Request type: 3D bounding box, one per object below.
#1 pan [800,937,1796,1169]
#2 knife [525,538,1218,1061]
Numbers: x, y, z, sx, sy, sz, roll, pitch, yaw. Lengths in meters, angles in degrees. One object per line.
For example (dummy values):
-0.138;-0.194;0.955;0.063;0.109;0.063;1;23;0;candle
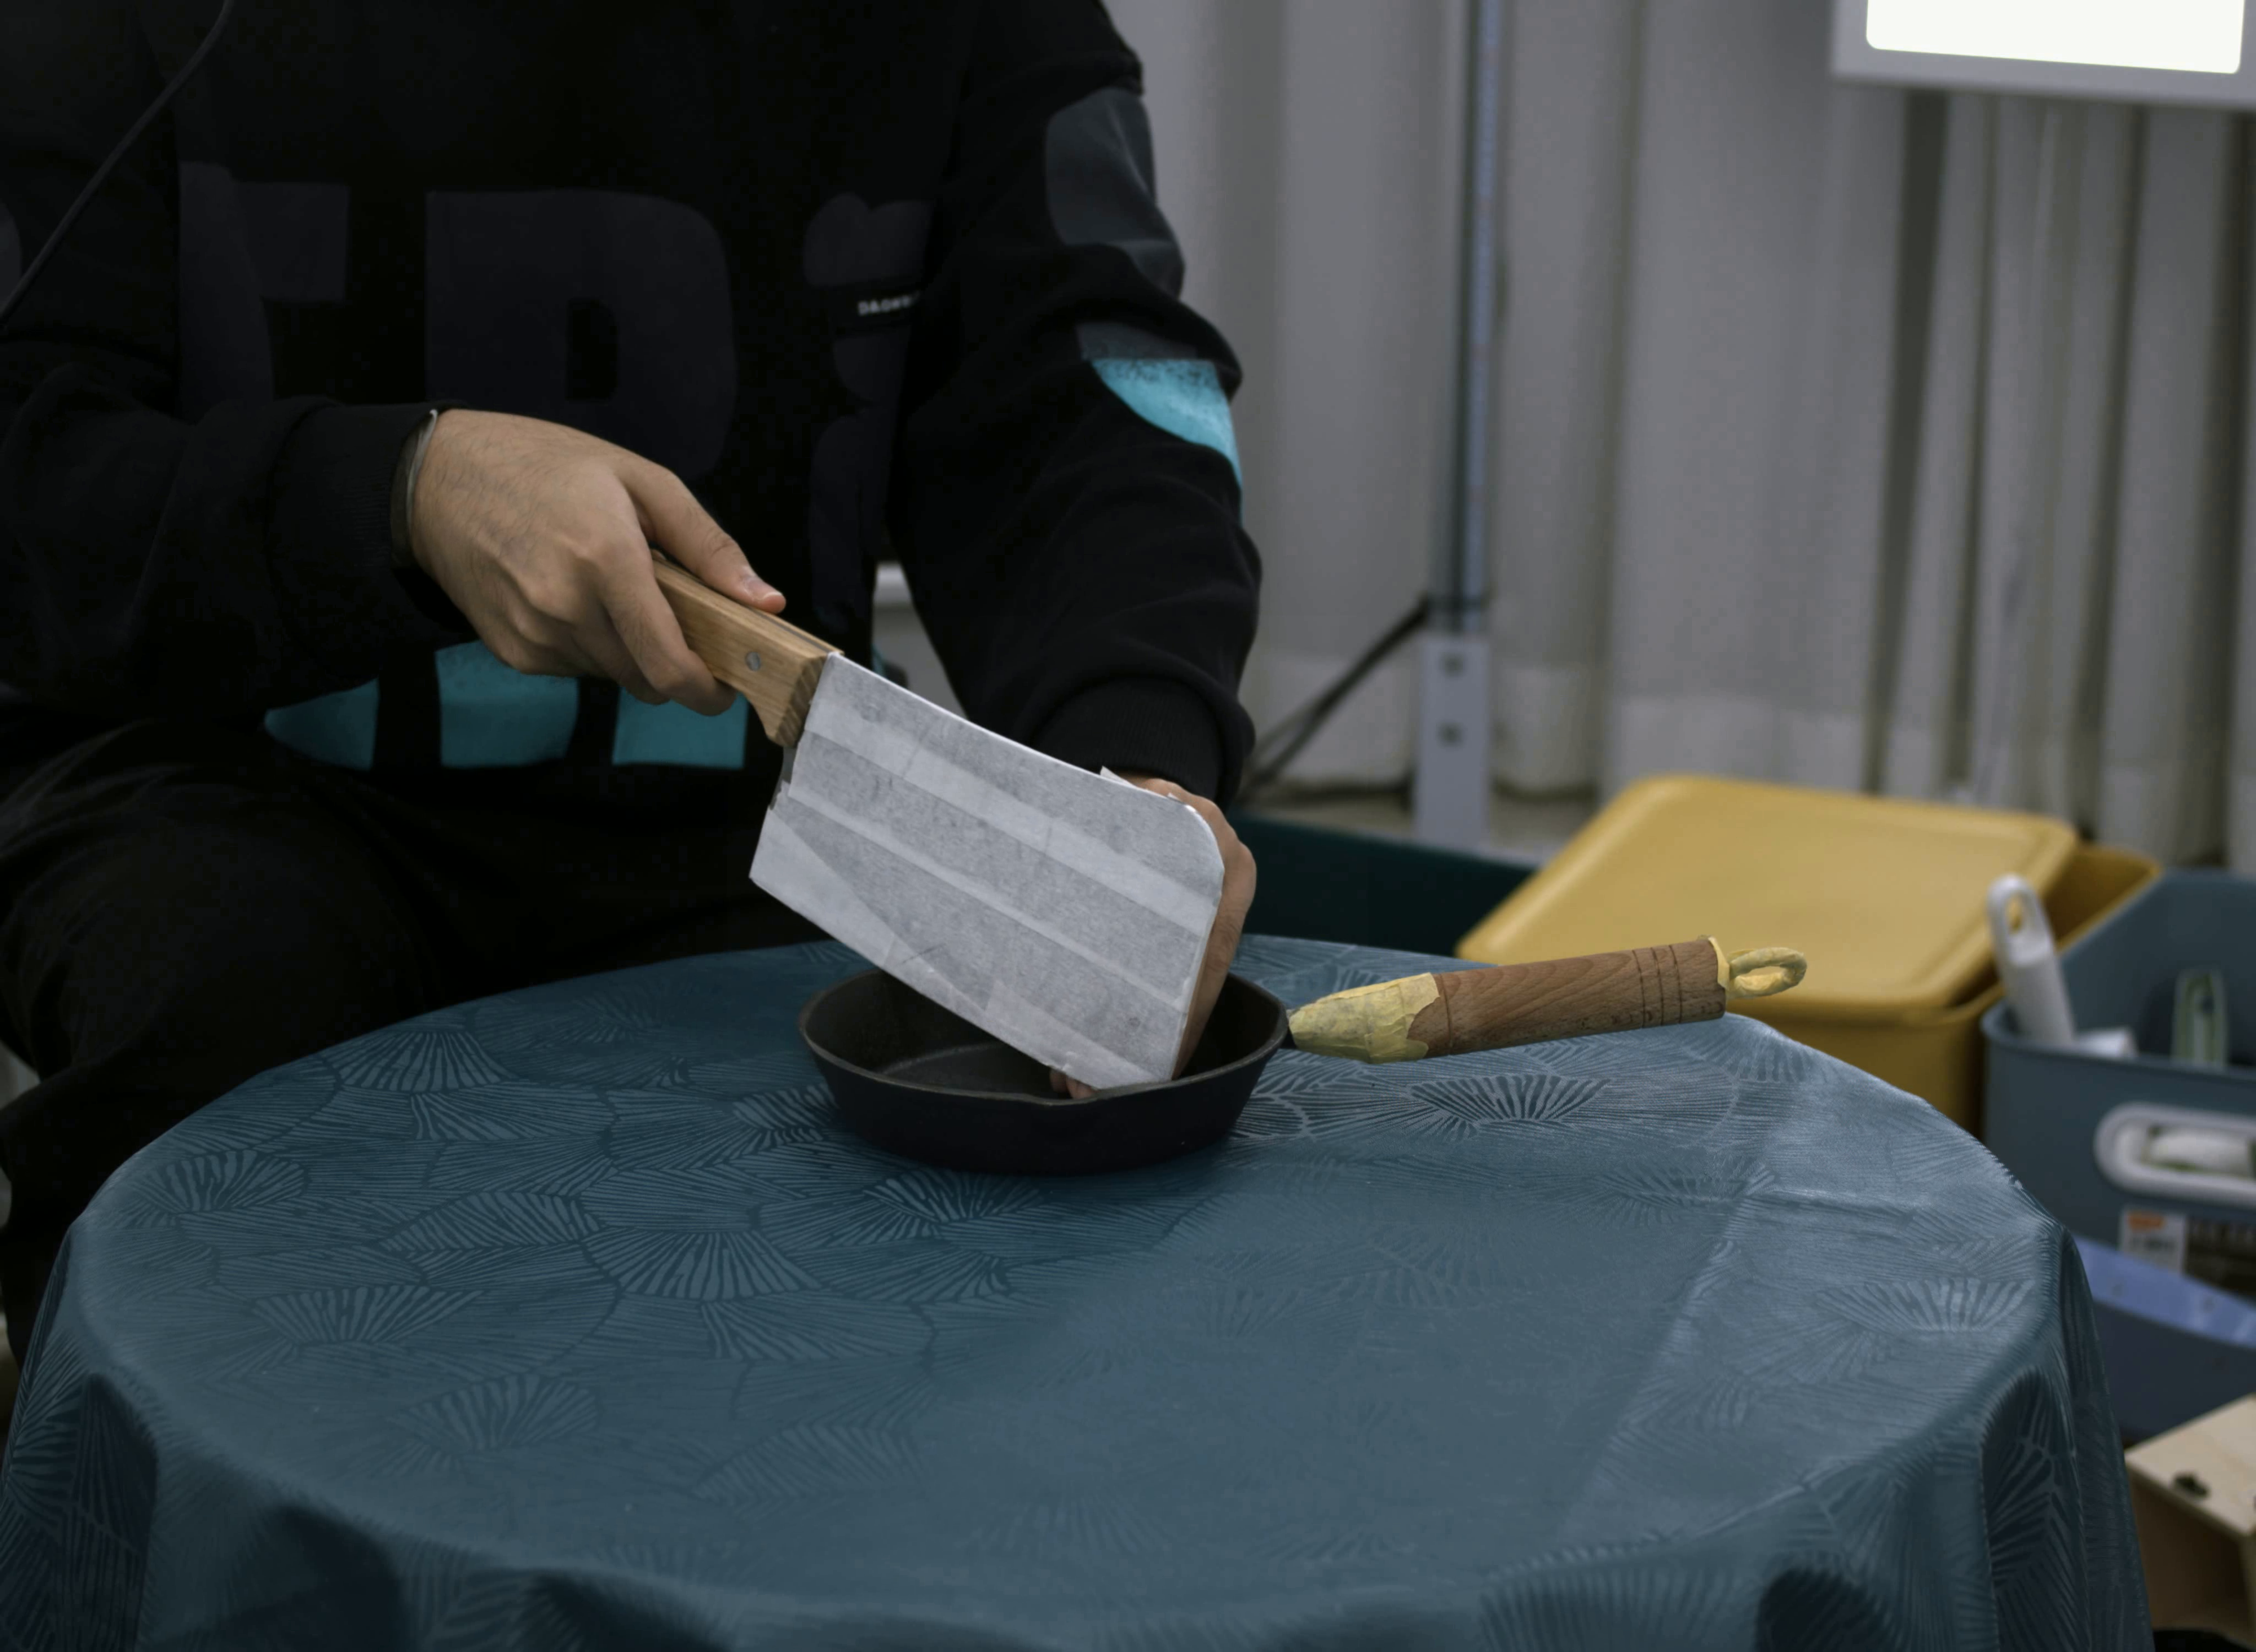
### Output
0.057;0.067;1.695;0.324;0.050;0.168;-2;15;-5;pan
-0.088;-0.018;1.735;0.311;0.114;0.022;32;21;30;knife
